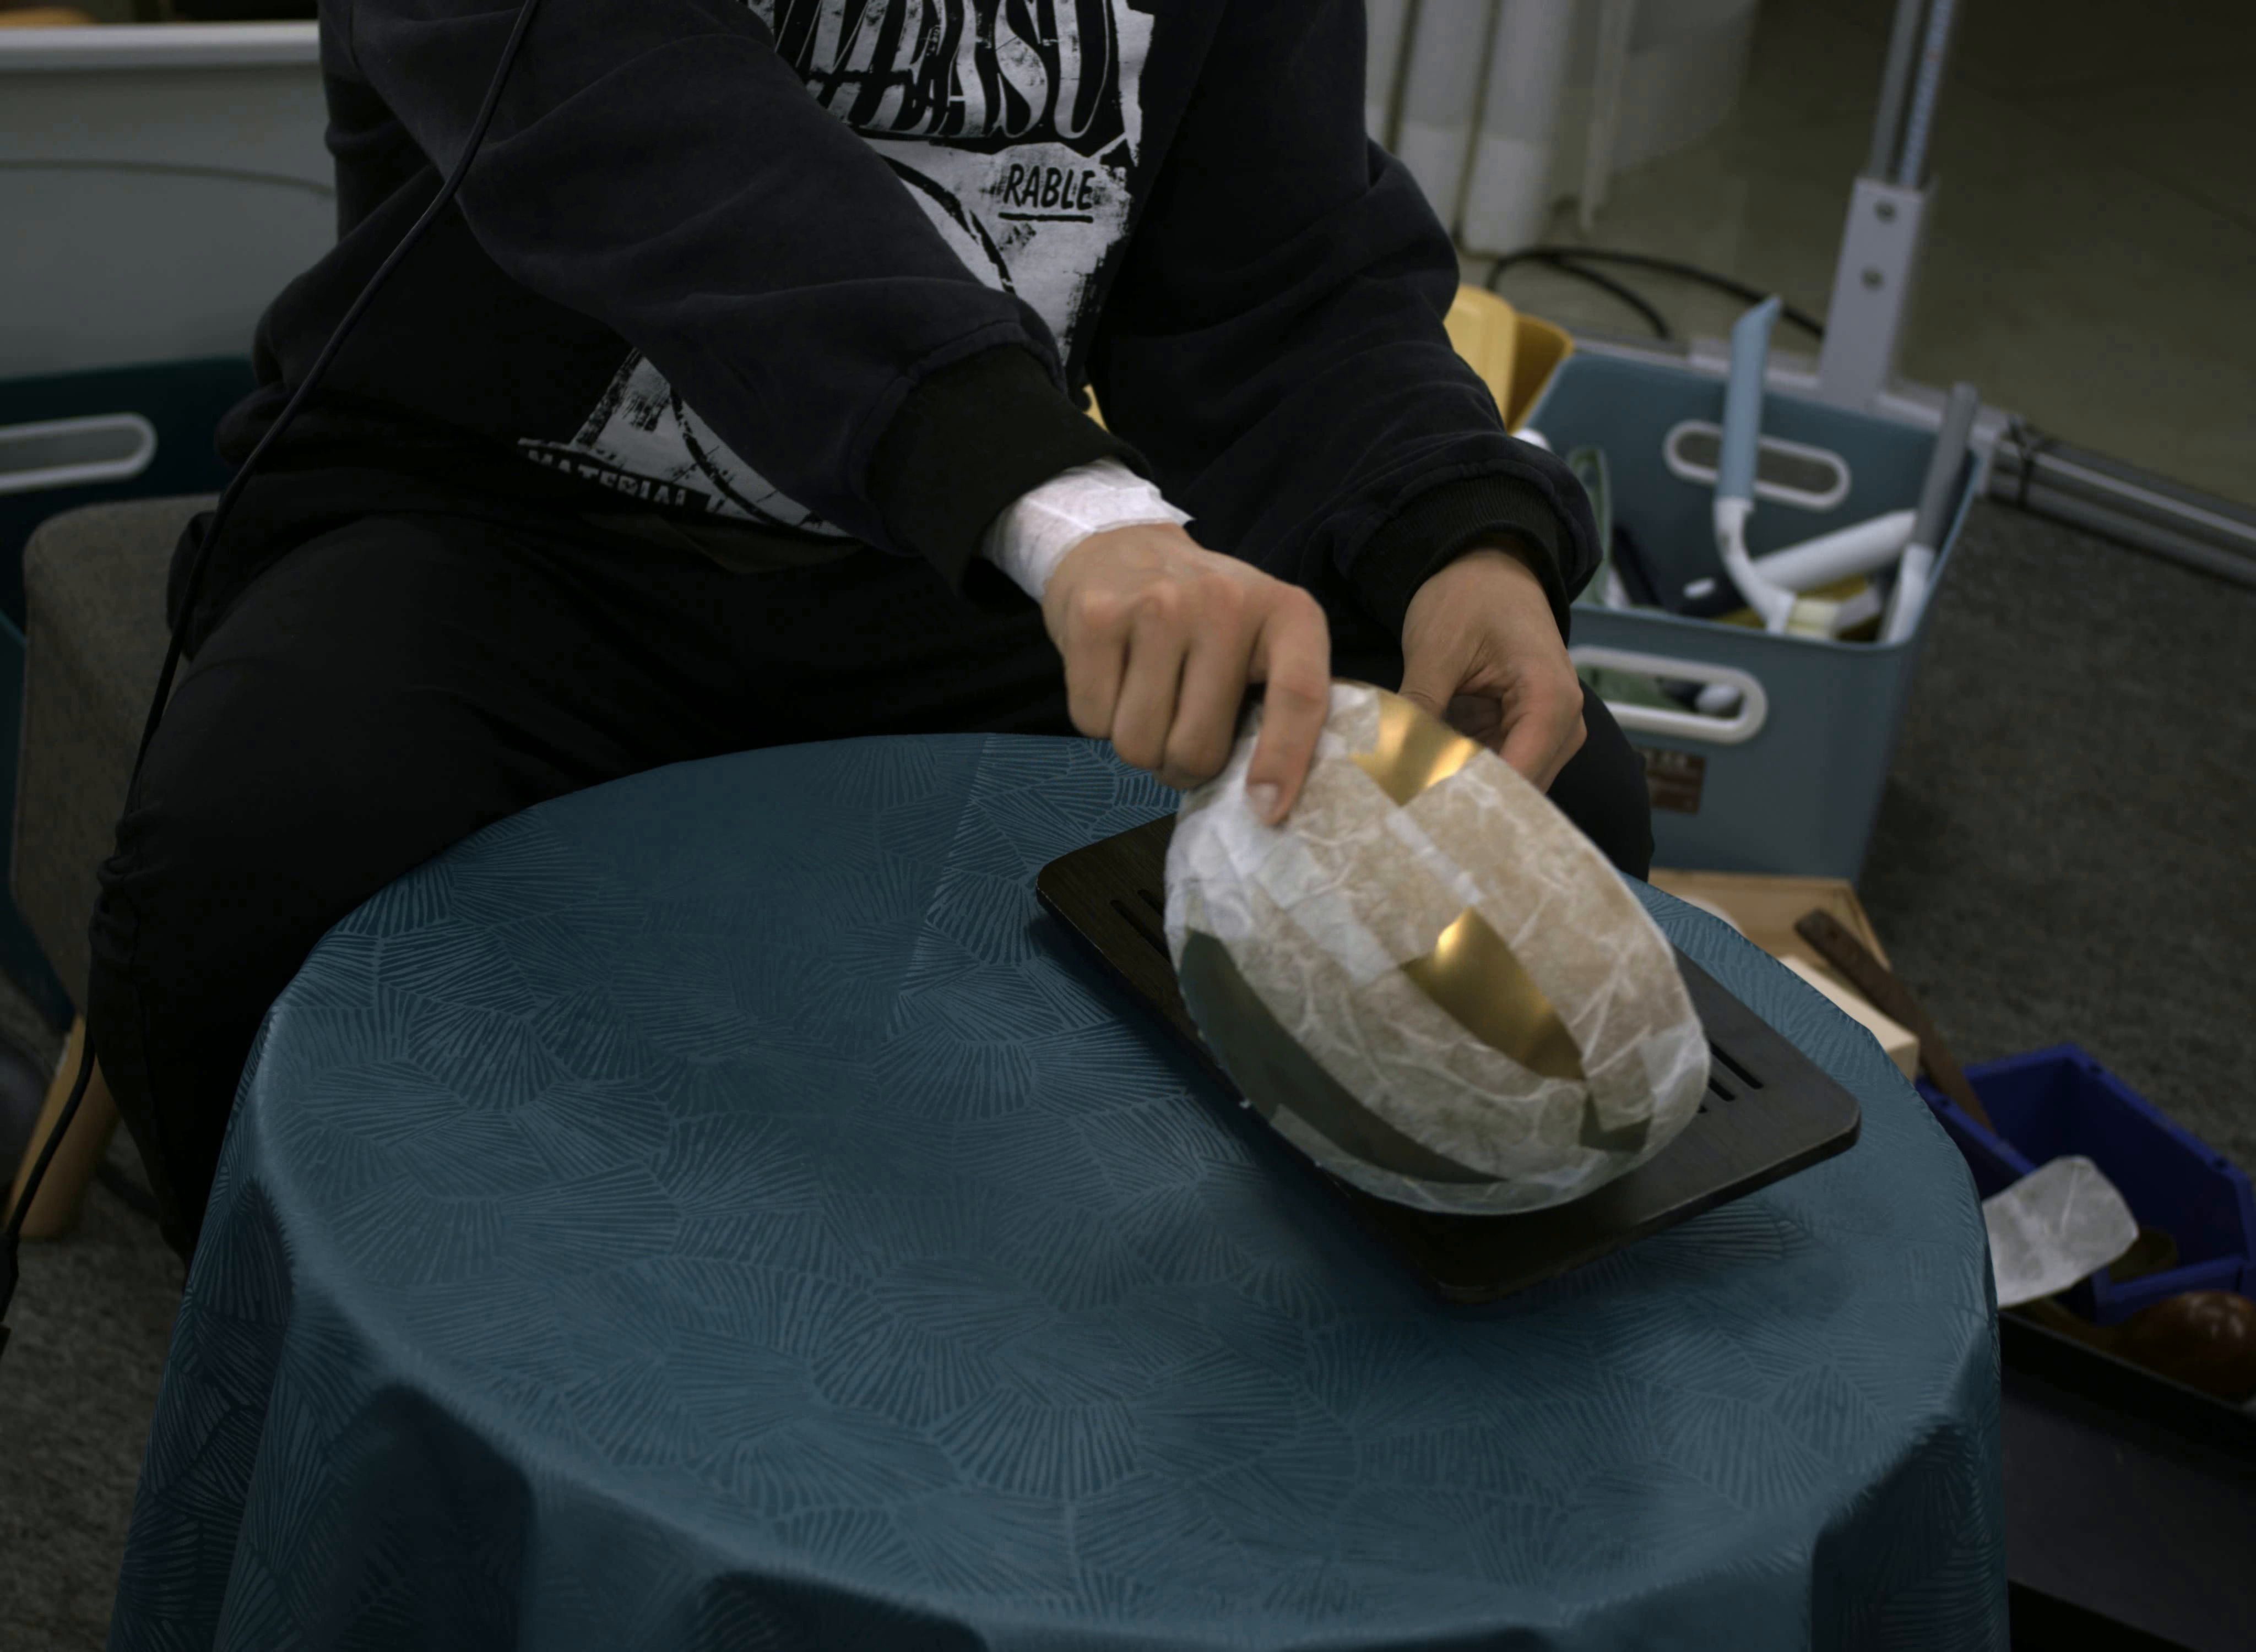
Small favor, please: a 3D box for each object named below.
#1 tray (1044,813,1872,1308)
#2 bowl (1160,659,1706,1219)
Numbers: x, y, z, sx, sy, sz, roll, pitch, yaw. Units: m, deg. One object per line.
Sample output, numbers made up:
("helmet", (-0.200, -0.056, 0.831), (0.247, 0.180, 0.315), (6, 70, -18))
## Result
("tray", (0.111, 0.065, 1.882), (0.169, 0.018, 0.309), (-21, 36, -20))
("bowl", (0.080, 0.056, 1.728), (0.216, 0.213, 0.094), (29, 62, 37))
